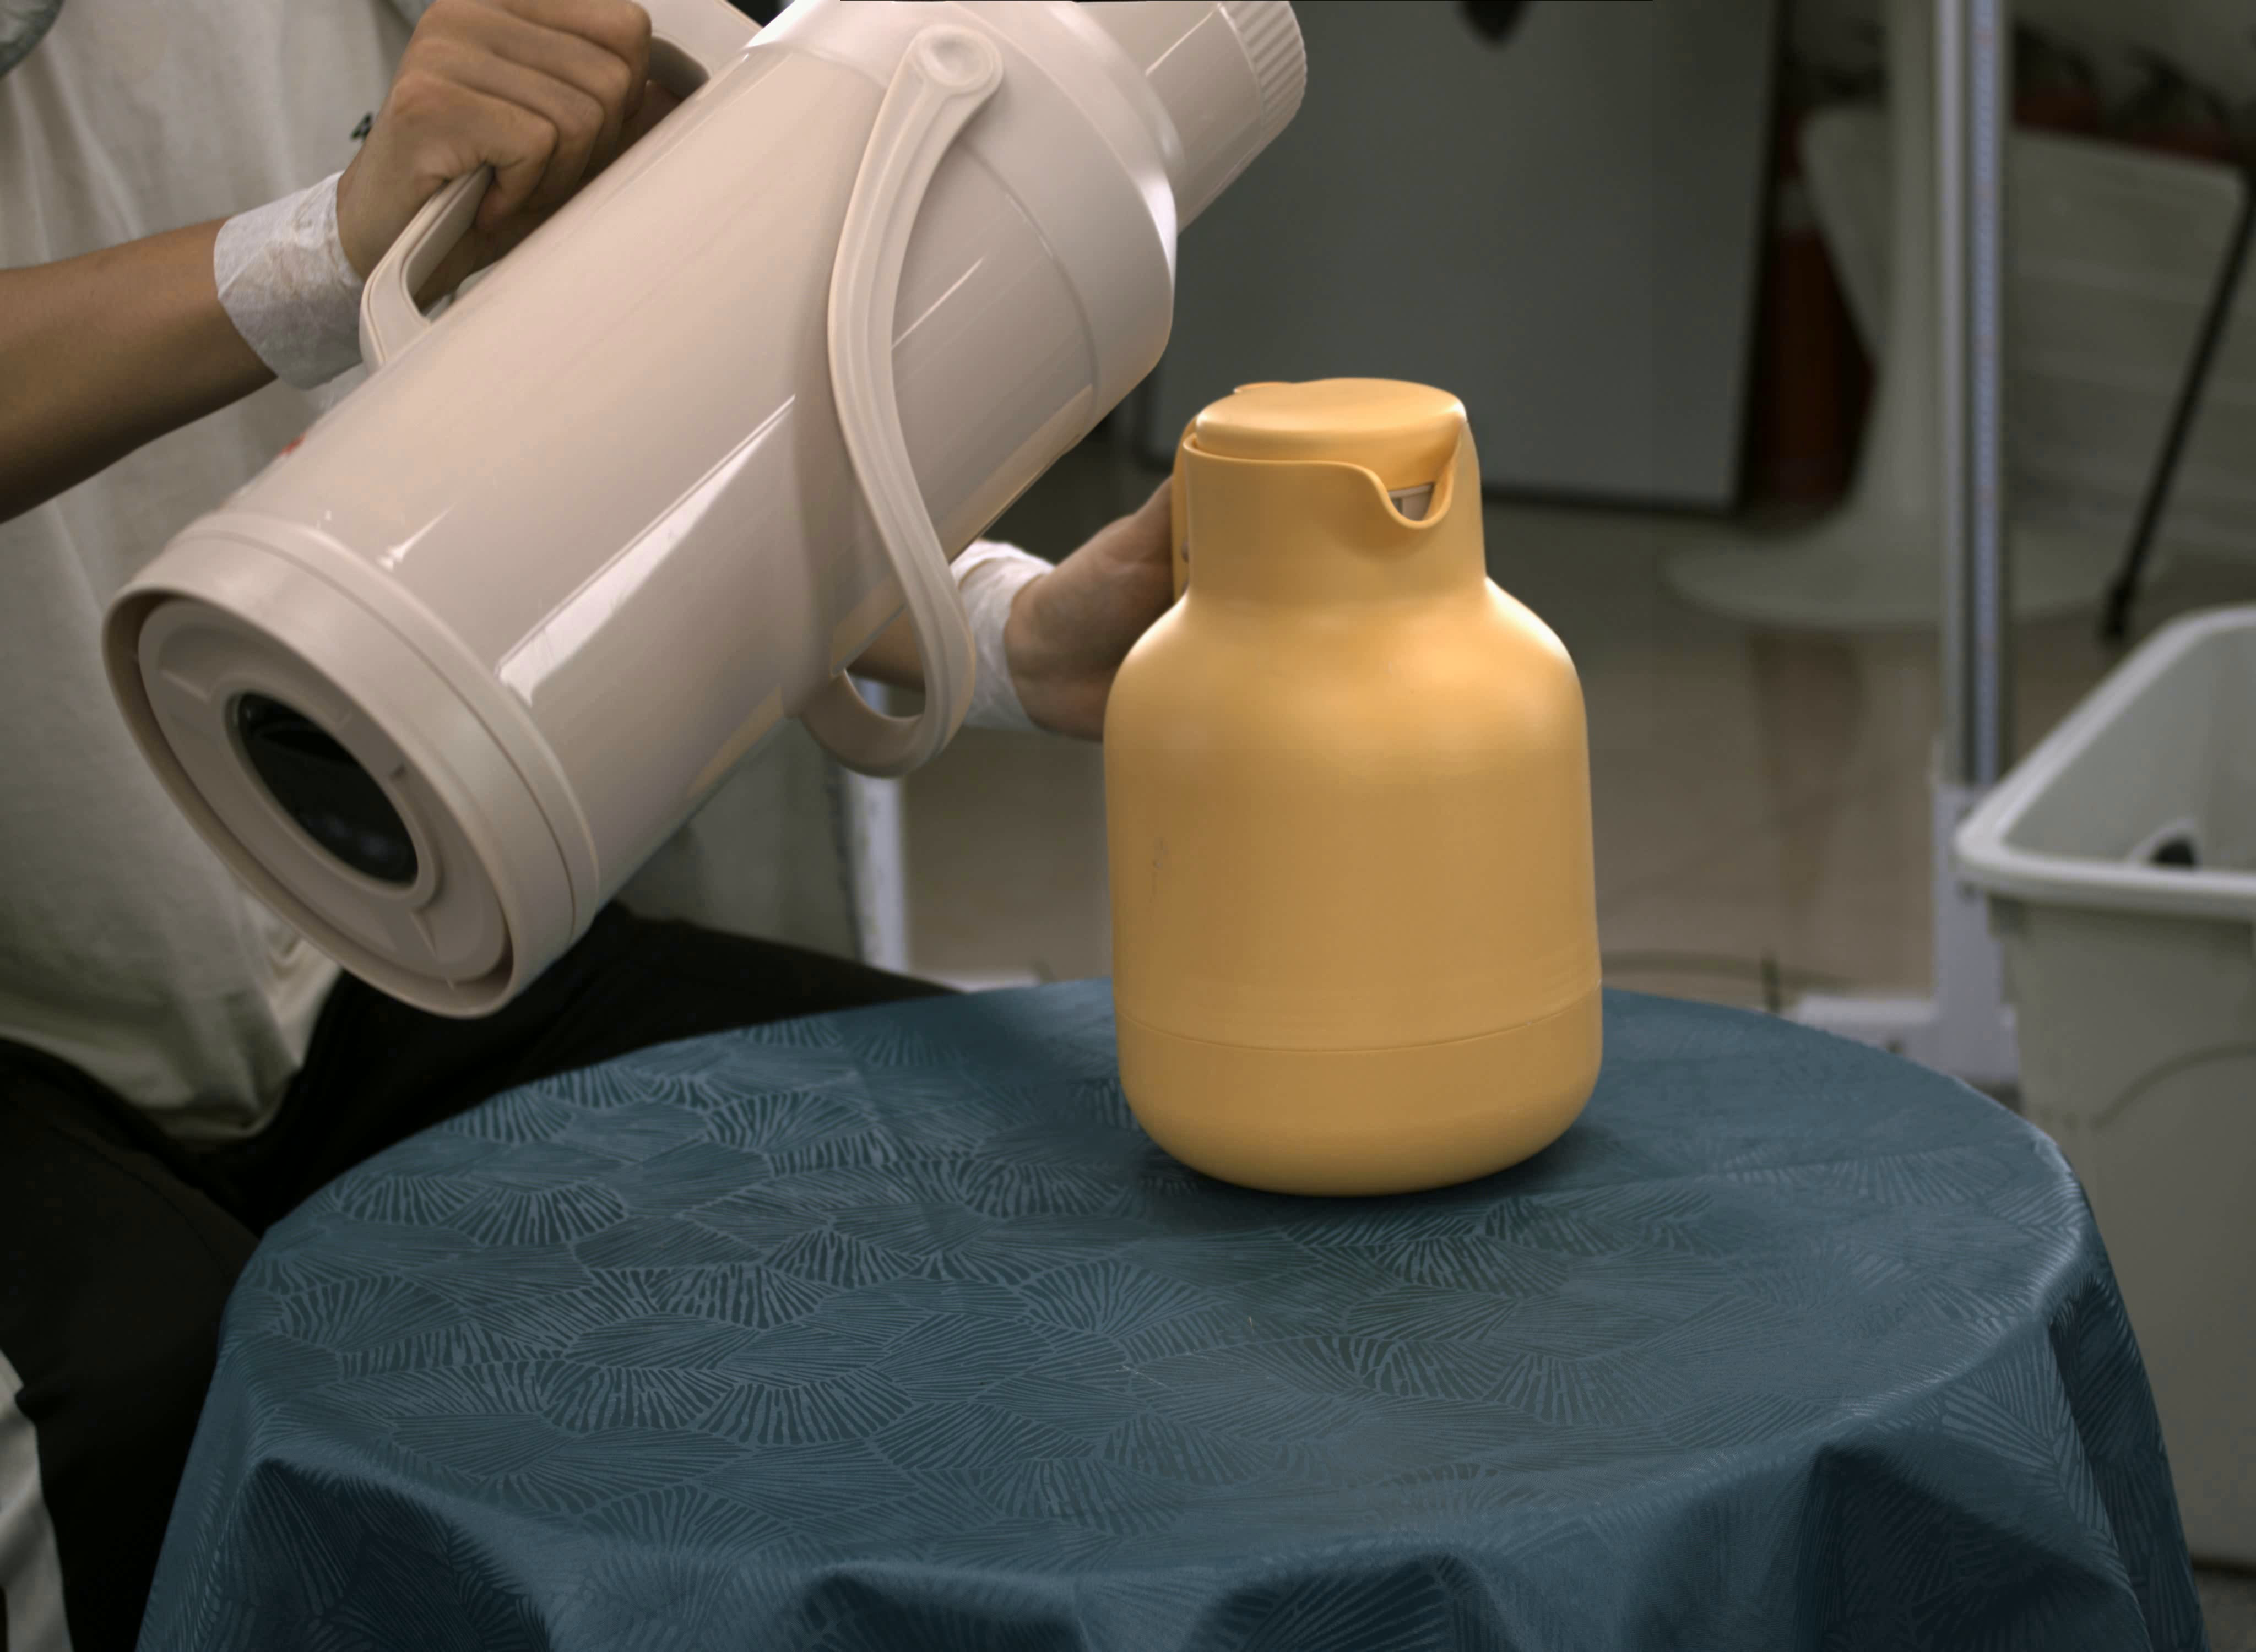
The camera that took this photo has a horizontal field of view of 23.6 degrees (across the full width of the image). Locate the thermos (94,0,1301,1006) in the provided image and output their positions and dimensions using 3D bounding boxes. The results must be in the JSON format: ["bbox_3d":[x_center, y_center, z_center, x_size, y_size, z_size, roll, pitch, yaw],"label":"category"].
[{"bbox_3d":[-0.120,-0.144,1.594,0.208,0.176,0.403,37,63,14],"label":"thermos"}]

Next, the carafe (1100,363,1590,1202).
[{"bbox_3d":[0.065,-0.022,1.790,0.160,0.263,0.204,-6,15,-17],"label":"carafe"}]
